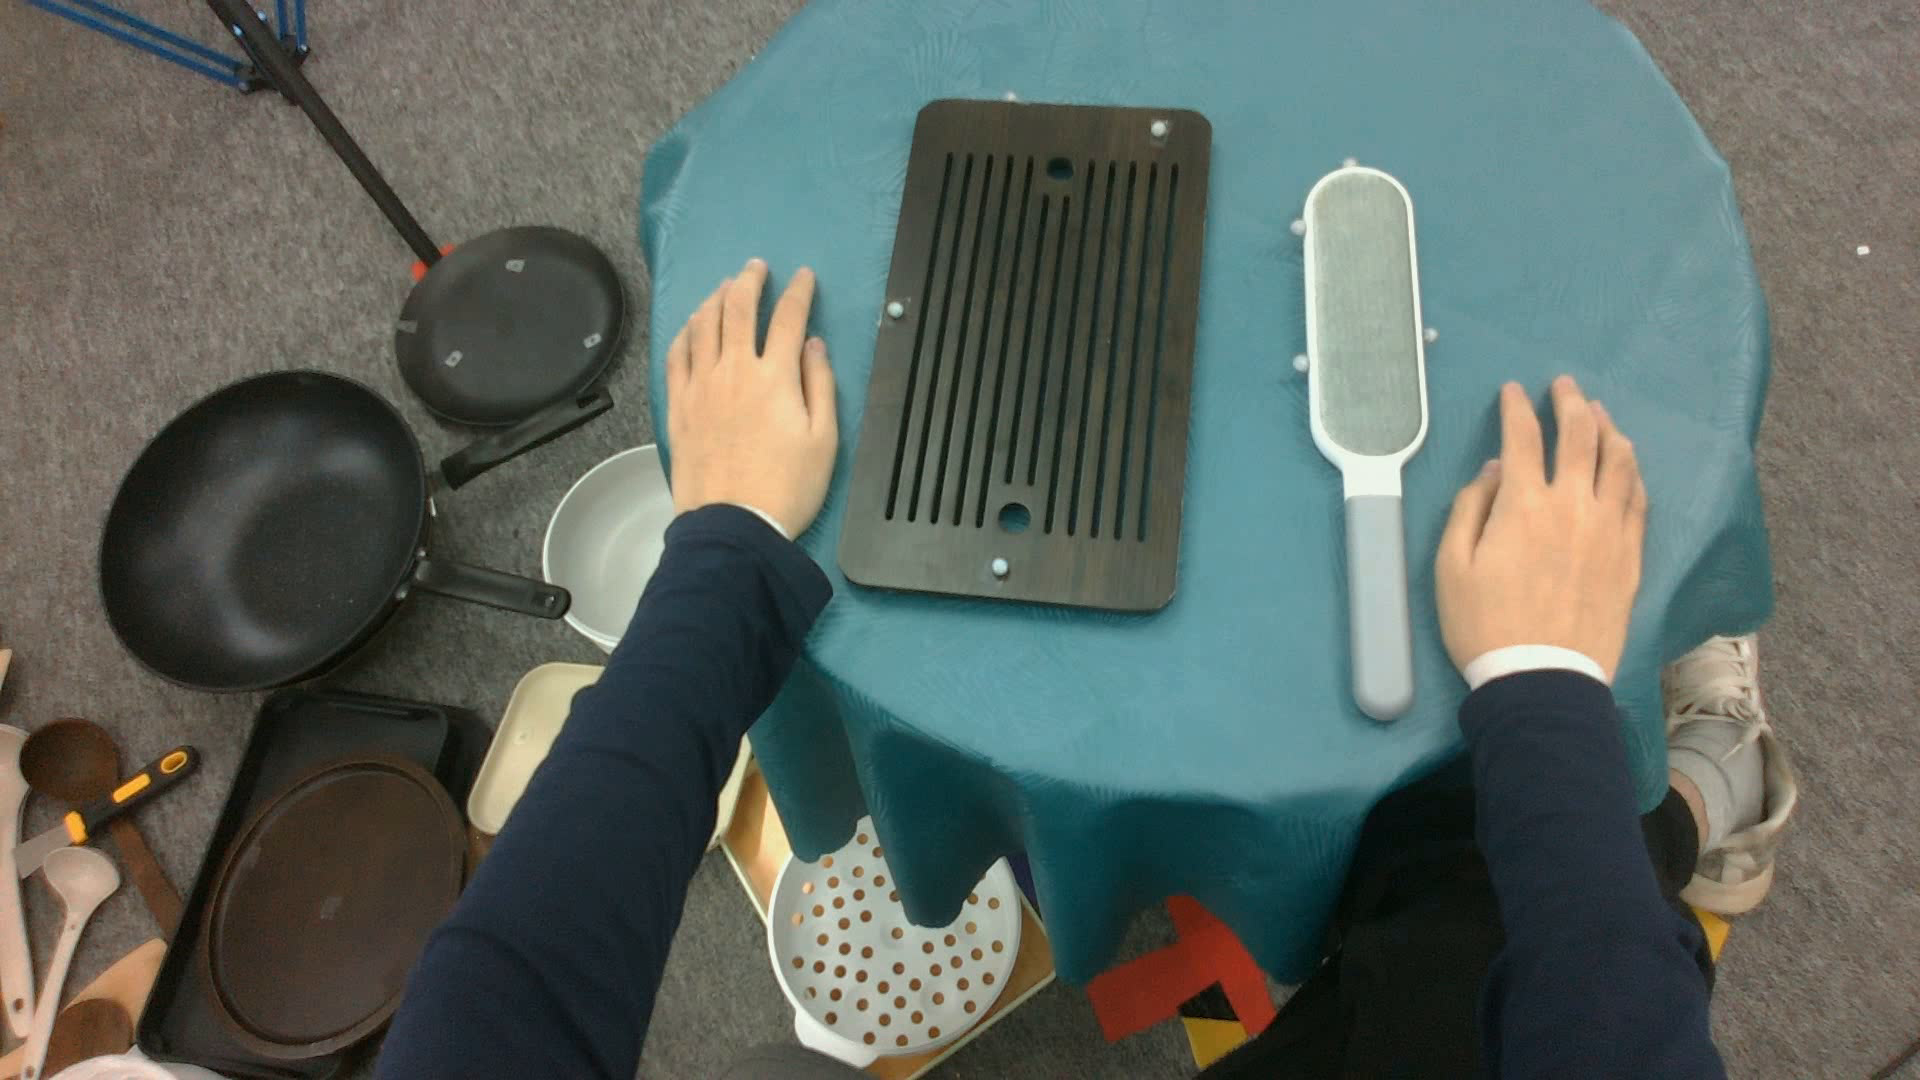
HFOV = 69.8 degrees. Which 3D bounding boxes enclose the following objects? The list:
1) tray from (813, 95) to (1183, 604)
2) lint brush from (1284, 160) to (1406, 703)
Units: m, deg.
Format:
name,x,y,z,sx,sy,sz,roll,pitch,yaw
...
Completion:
name,x,y,z,sx,sy,sz,roll,pitch,yaw
tray,0.027,-0.112,0.737,0.170,0.018,0.307,4,66,6
lint brush,0.196,-0.067,0.698,0.060,0.021,0.310,4,66,0
